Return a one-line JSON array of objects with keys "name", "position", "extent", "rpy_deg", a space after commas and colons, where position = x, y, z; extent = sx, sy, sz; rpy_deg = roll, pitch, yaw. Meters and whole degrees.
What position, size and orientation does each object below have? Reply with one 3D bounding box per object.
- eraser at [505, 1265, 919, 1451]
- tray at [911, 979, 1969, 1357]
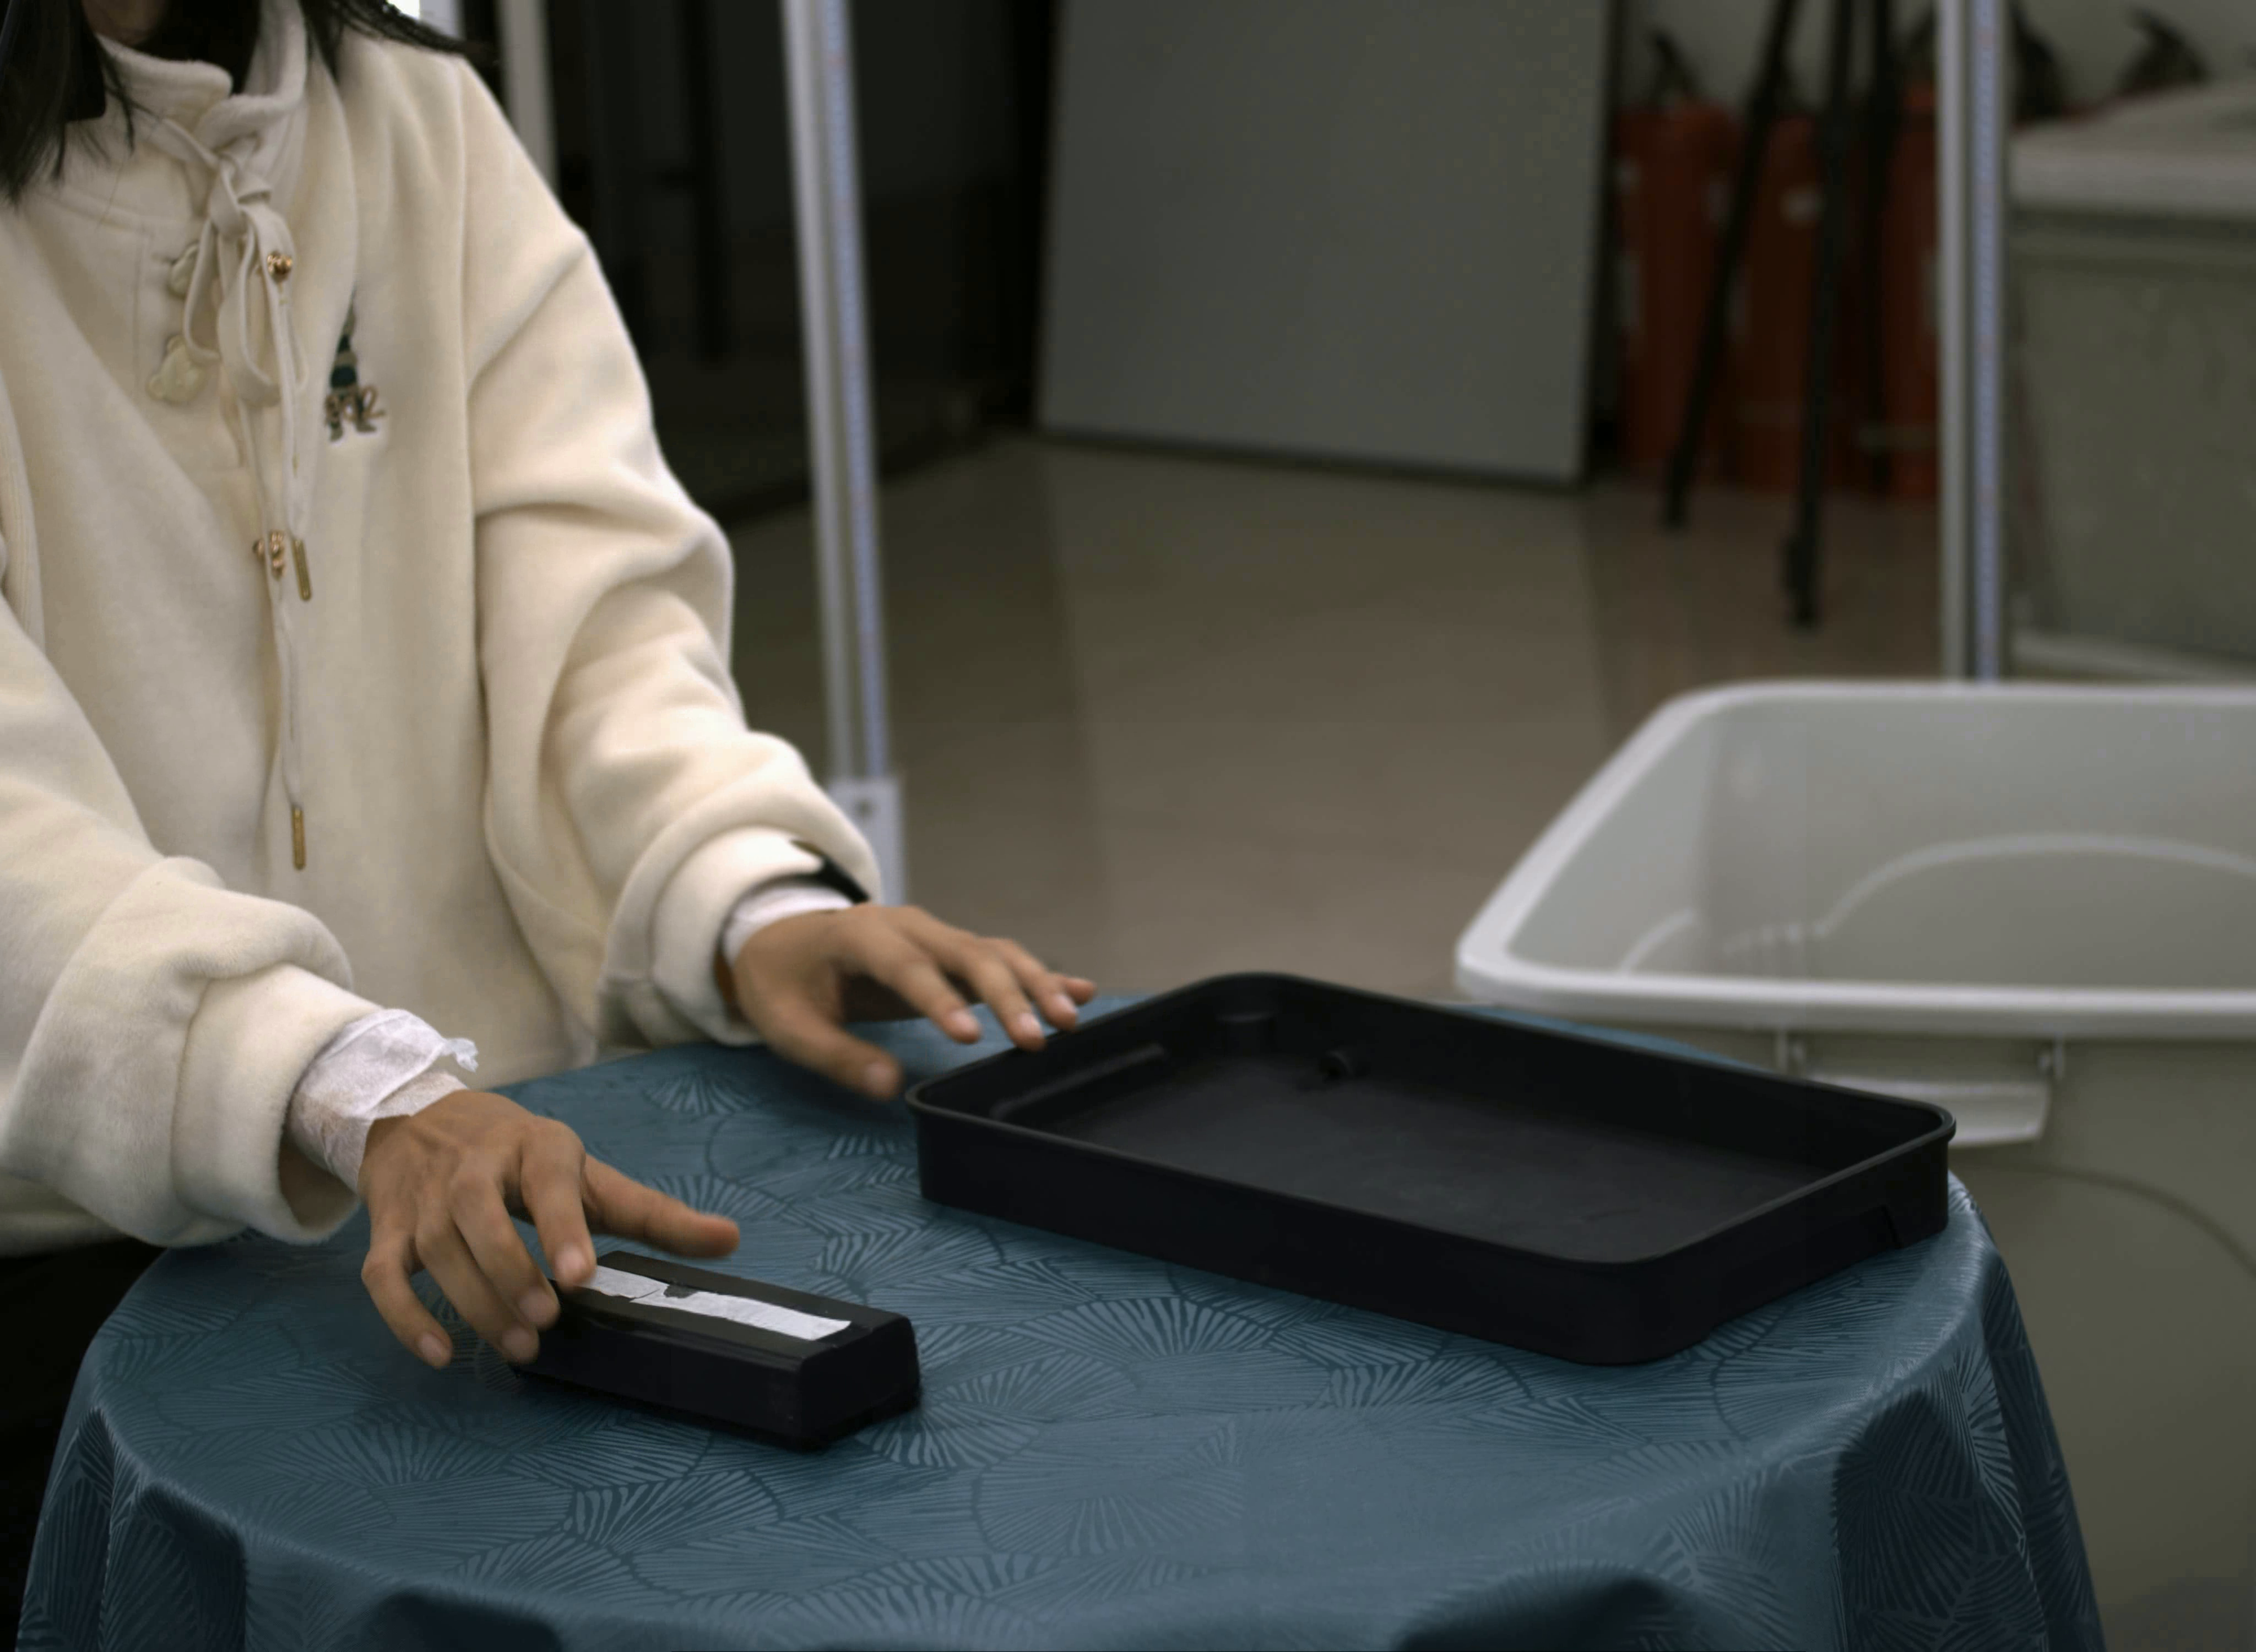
[{"name": "eraser", "position": [-0.123, 0.157, 1.603], "extent": [0.126, 0.031, 0.052], "rpy_deg": [8, 13, 40]}, {"name": "tray", "position": [0.097, 0.105, 1.727], "extent": [0.321, 0.037, 0.180], "rpy_deg": [8, 18, 43]}]
